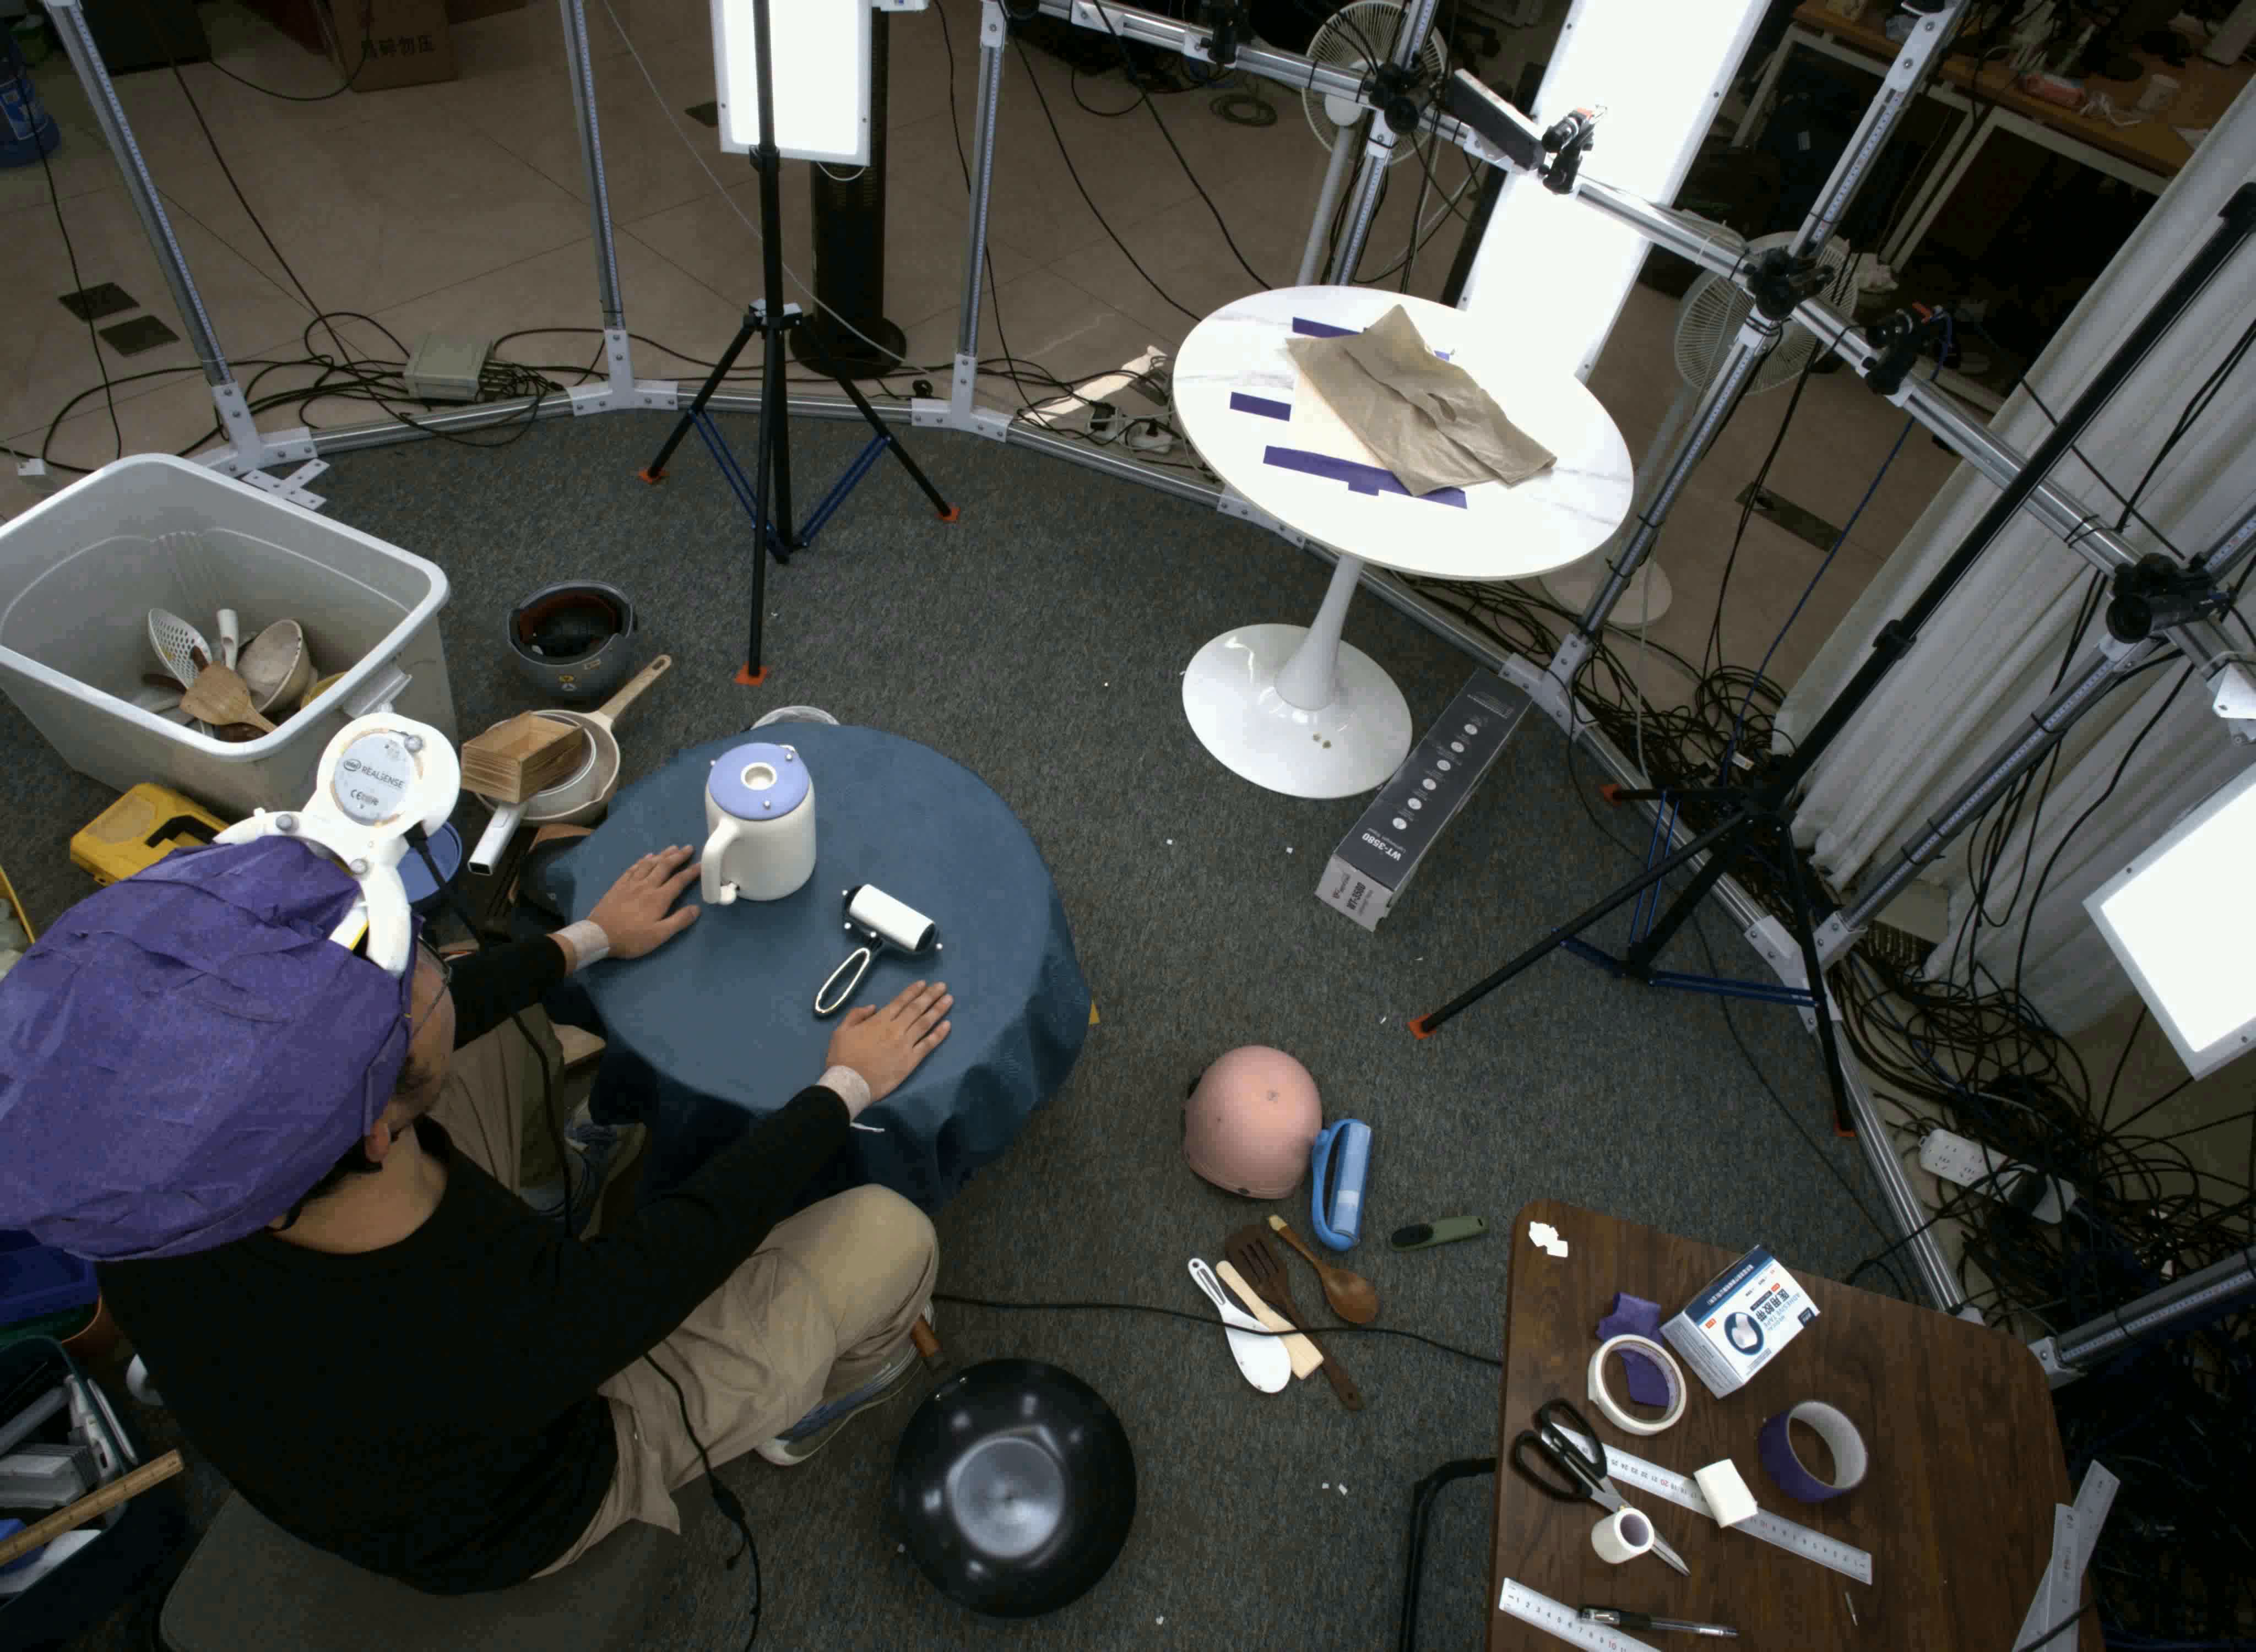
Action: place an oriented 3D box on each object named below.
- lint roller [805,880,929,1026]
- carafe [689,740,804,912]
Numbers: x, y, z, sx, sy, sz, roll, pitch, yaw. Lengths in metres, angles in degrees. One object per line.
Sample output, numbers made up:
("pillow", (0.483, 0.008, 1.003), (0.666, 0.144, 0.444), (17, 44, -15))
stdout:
("lint roller", (-0.341, 0.162, 1.593), (0.132, 0.049, 0.179), (28, 56, 8))
("carafe", (-0.480, 0.012, 1.584), (0.130, 0.186, 0.189), (22, 53, 6))
